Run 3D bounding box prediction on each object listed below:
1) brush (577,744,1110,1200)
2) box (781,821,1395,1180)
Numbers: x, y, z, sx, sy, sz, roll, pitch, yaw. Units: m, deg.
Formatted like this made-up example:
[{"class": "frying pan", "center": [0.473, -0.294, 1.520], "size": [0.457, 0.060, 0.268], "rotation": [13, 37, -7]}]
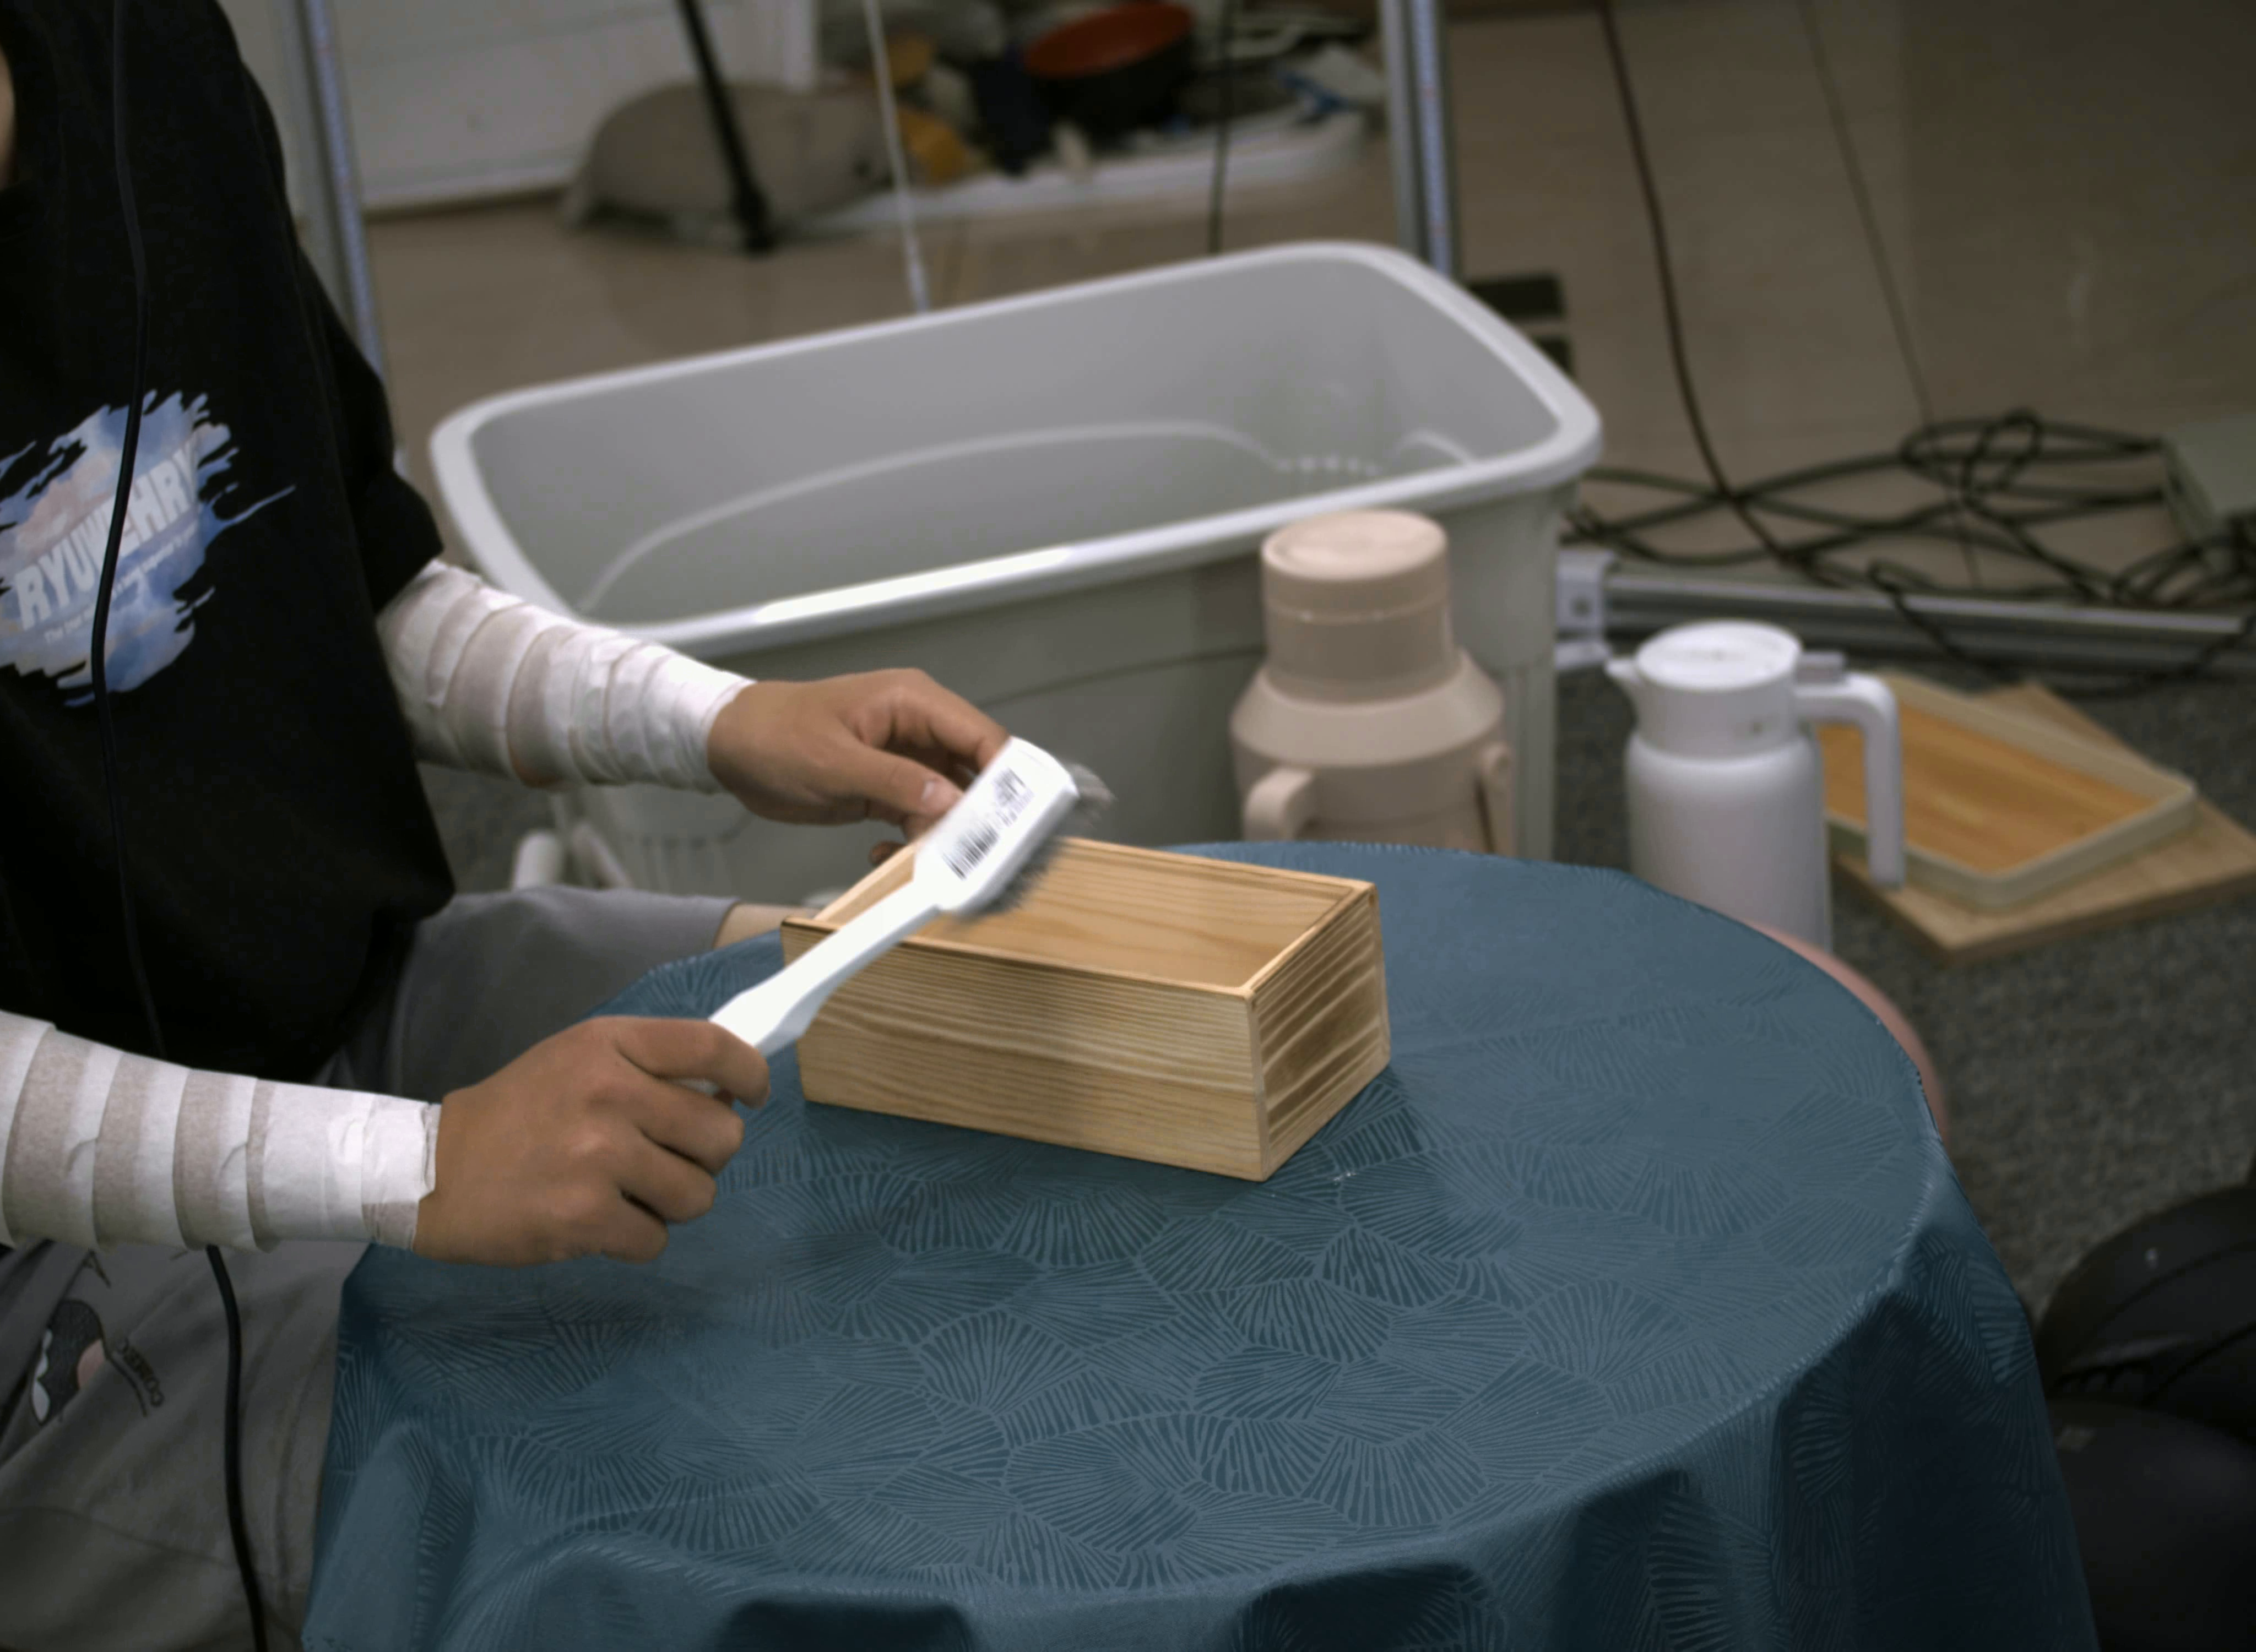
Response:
[{"class": "brush", "center": [-0.105, 0.060, 2.101], "size": [0.243, 0.051, 0.034], "rotation": [-43, 61, -6]}, {"class": "box", "center": [-0.015, 0.066, 2.215], "size": [0.210, 0.081, 0.106], "rotation": [7, 29, 30]}]
